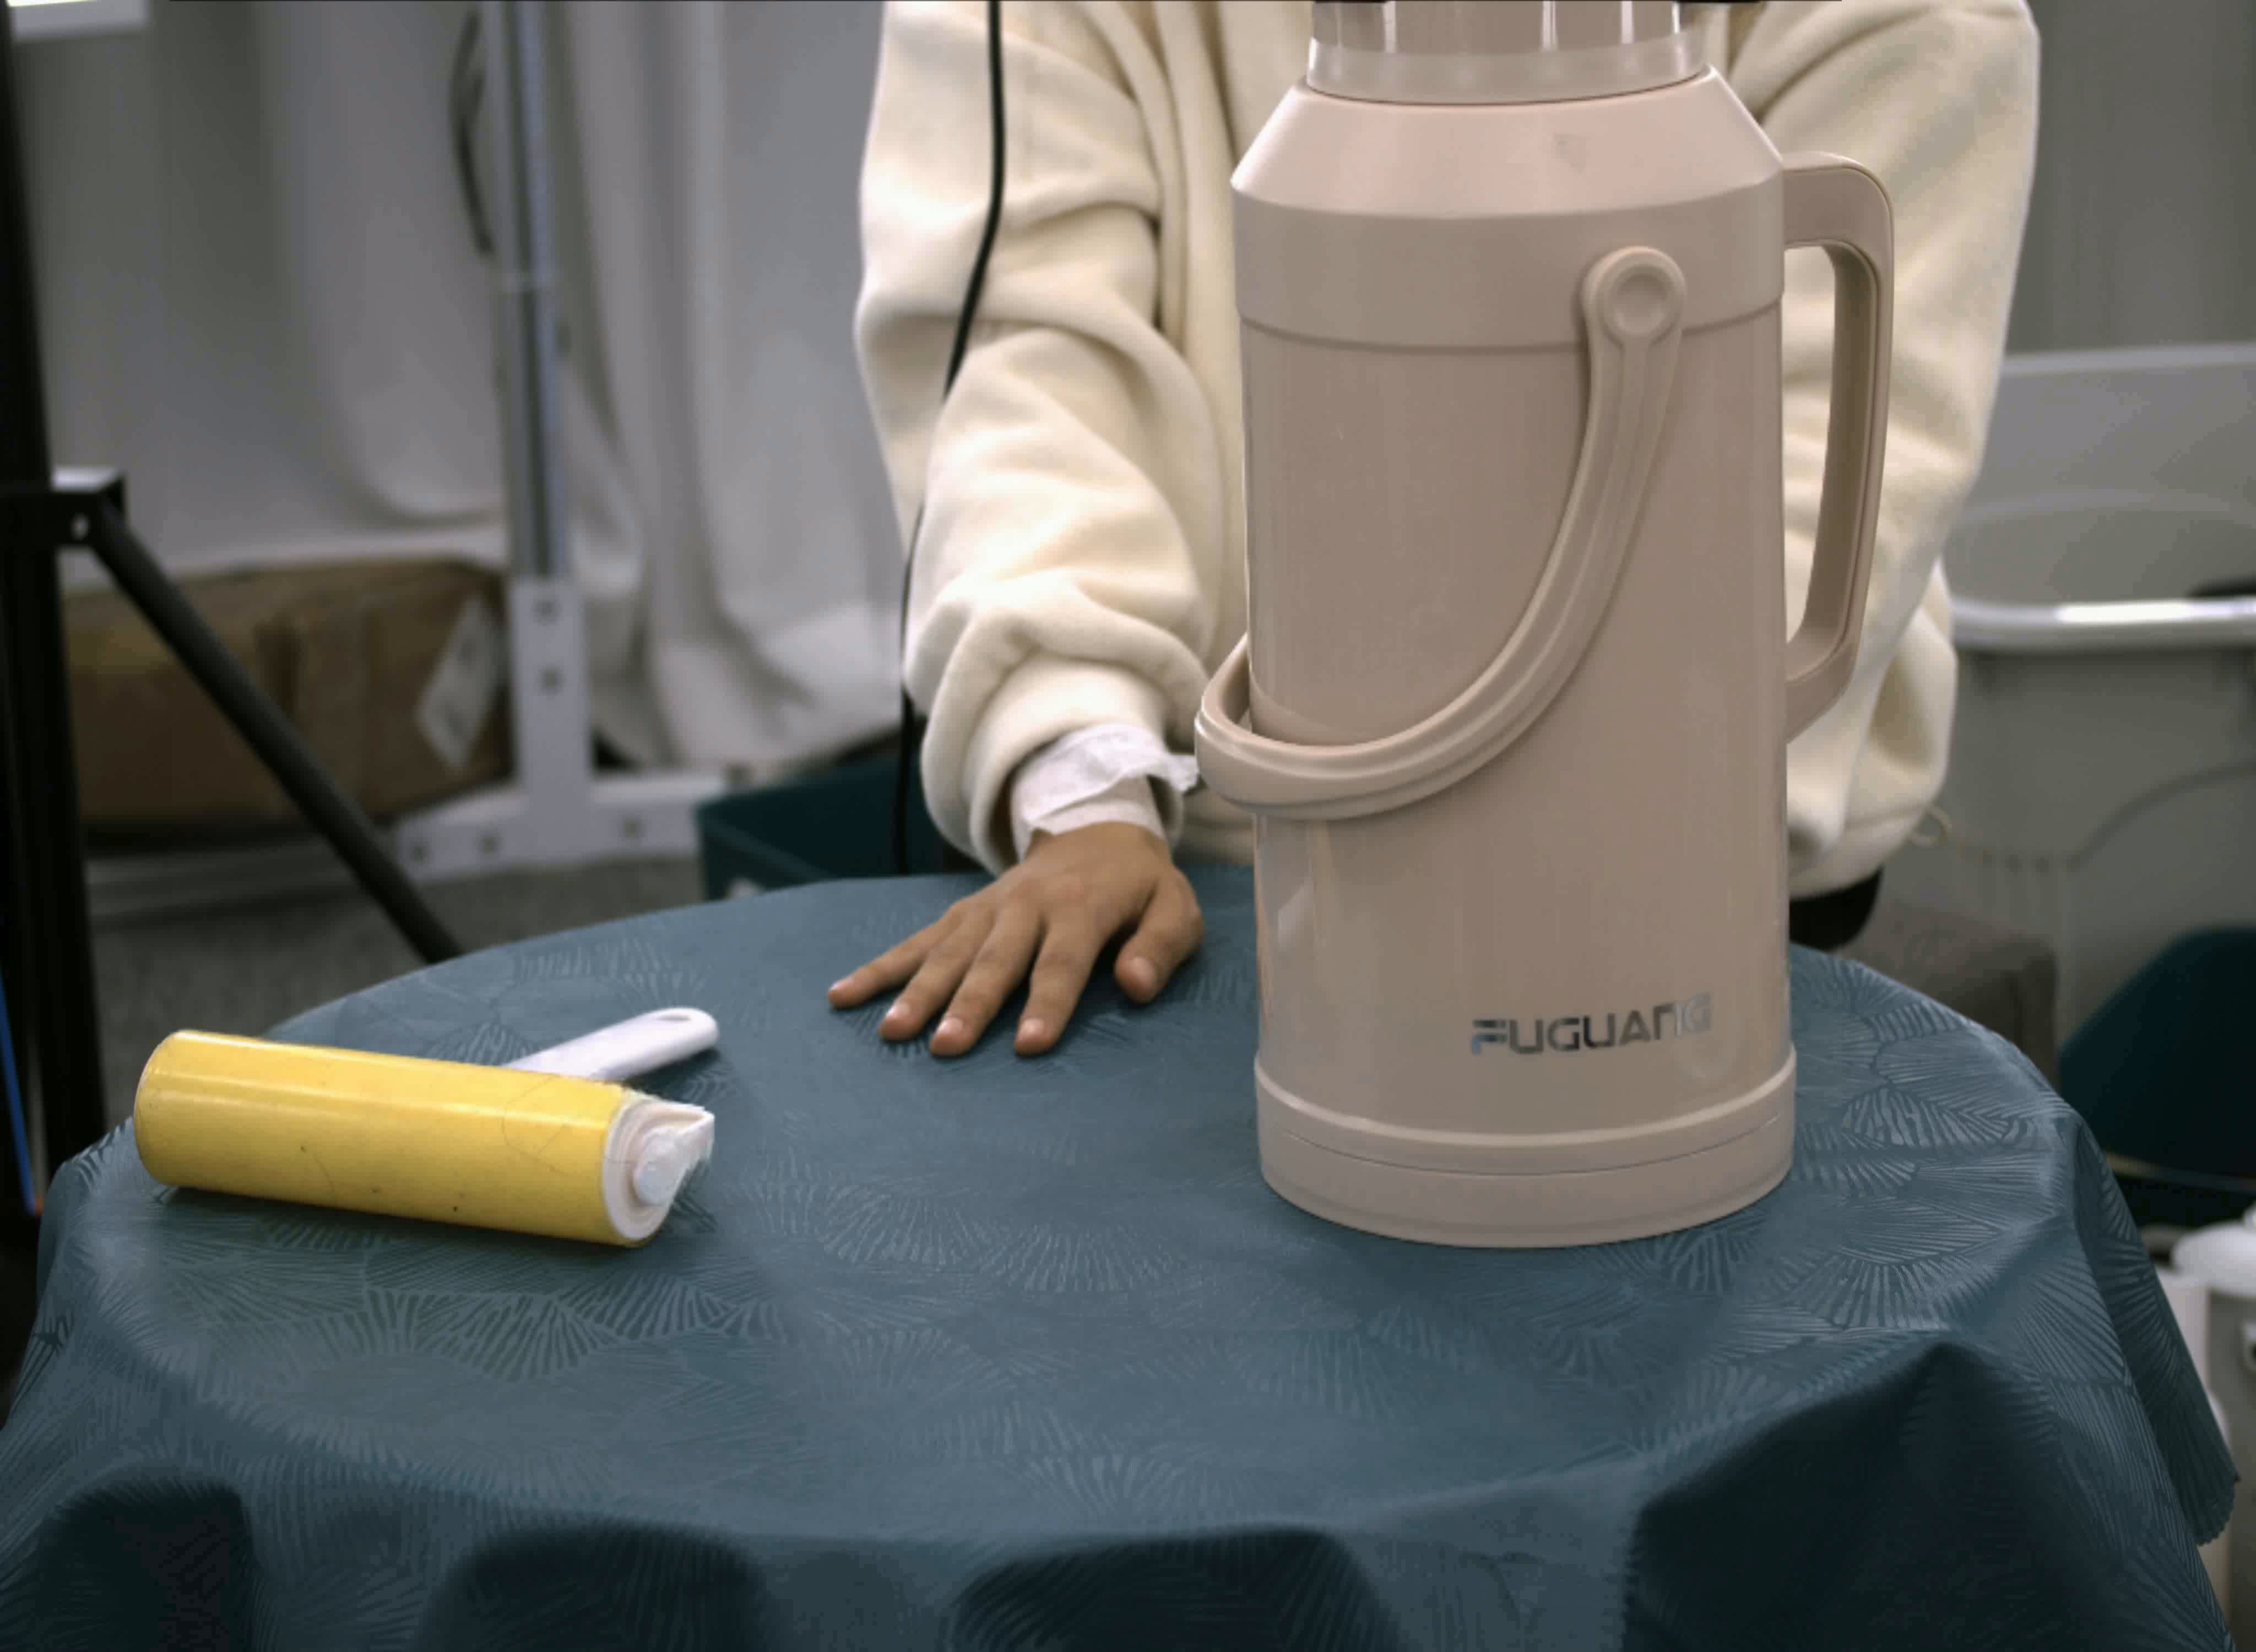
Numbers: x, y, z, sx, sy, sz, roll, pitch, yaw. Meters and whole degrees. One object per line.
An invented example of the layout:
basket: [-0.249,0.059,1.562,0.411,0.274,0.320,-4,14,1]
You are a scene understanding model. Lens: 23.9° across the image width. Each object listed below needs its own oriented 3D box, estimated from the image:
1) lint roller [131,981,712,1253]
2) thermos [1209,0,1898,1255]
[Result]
lint roller: [-0.184,0.069,1.626,0.177,0.051,0.189,5,23,25]
thermos: [0.124,-0.093,1.521,0.203,0.406,0.178,-7,15,-18]
